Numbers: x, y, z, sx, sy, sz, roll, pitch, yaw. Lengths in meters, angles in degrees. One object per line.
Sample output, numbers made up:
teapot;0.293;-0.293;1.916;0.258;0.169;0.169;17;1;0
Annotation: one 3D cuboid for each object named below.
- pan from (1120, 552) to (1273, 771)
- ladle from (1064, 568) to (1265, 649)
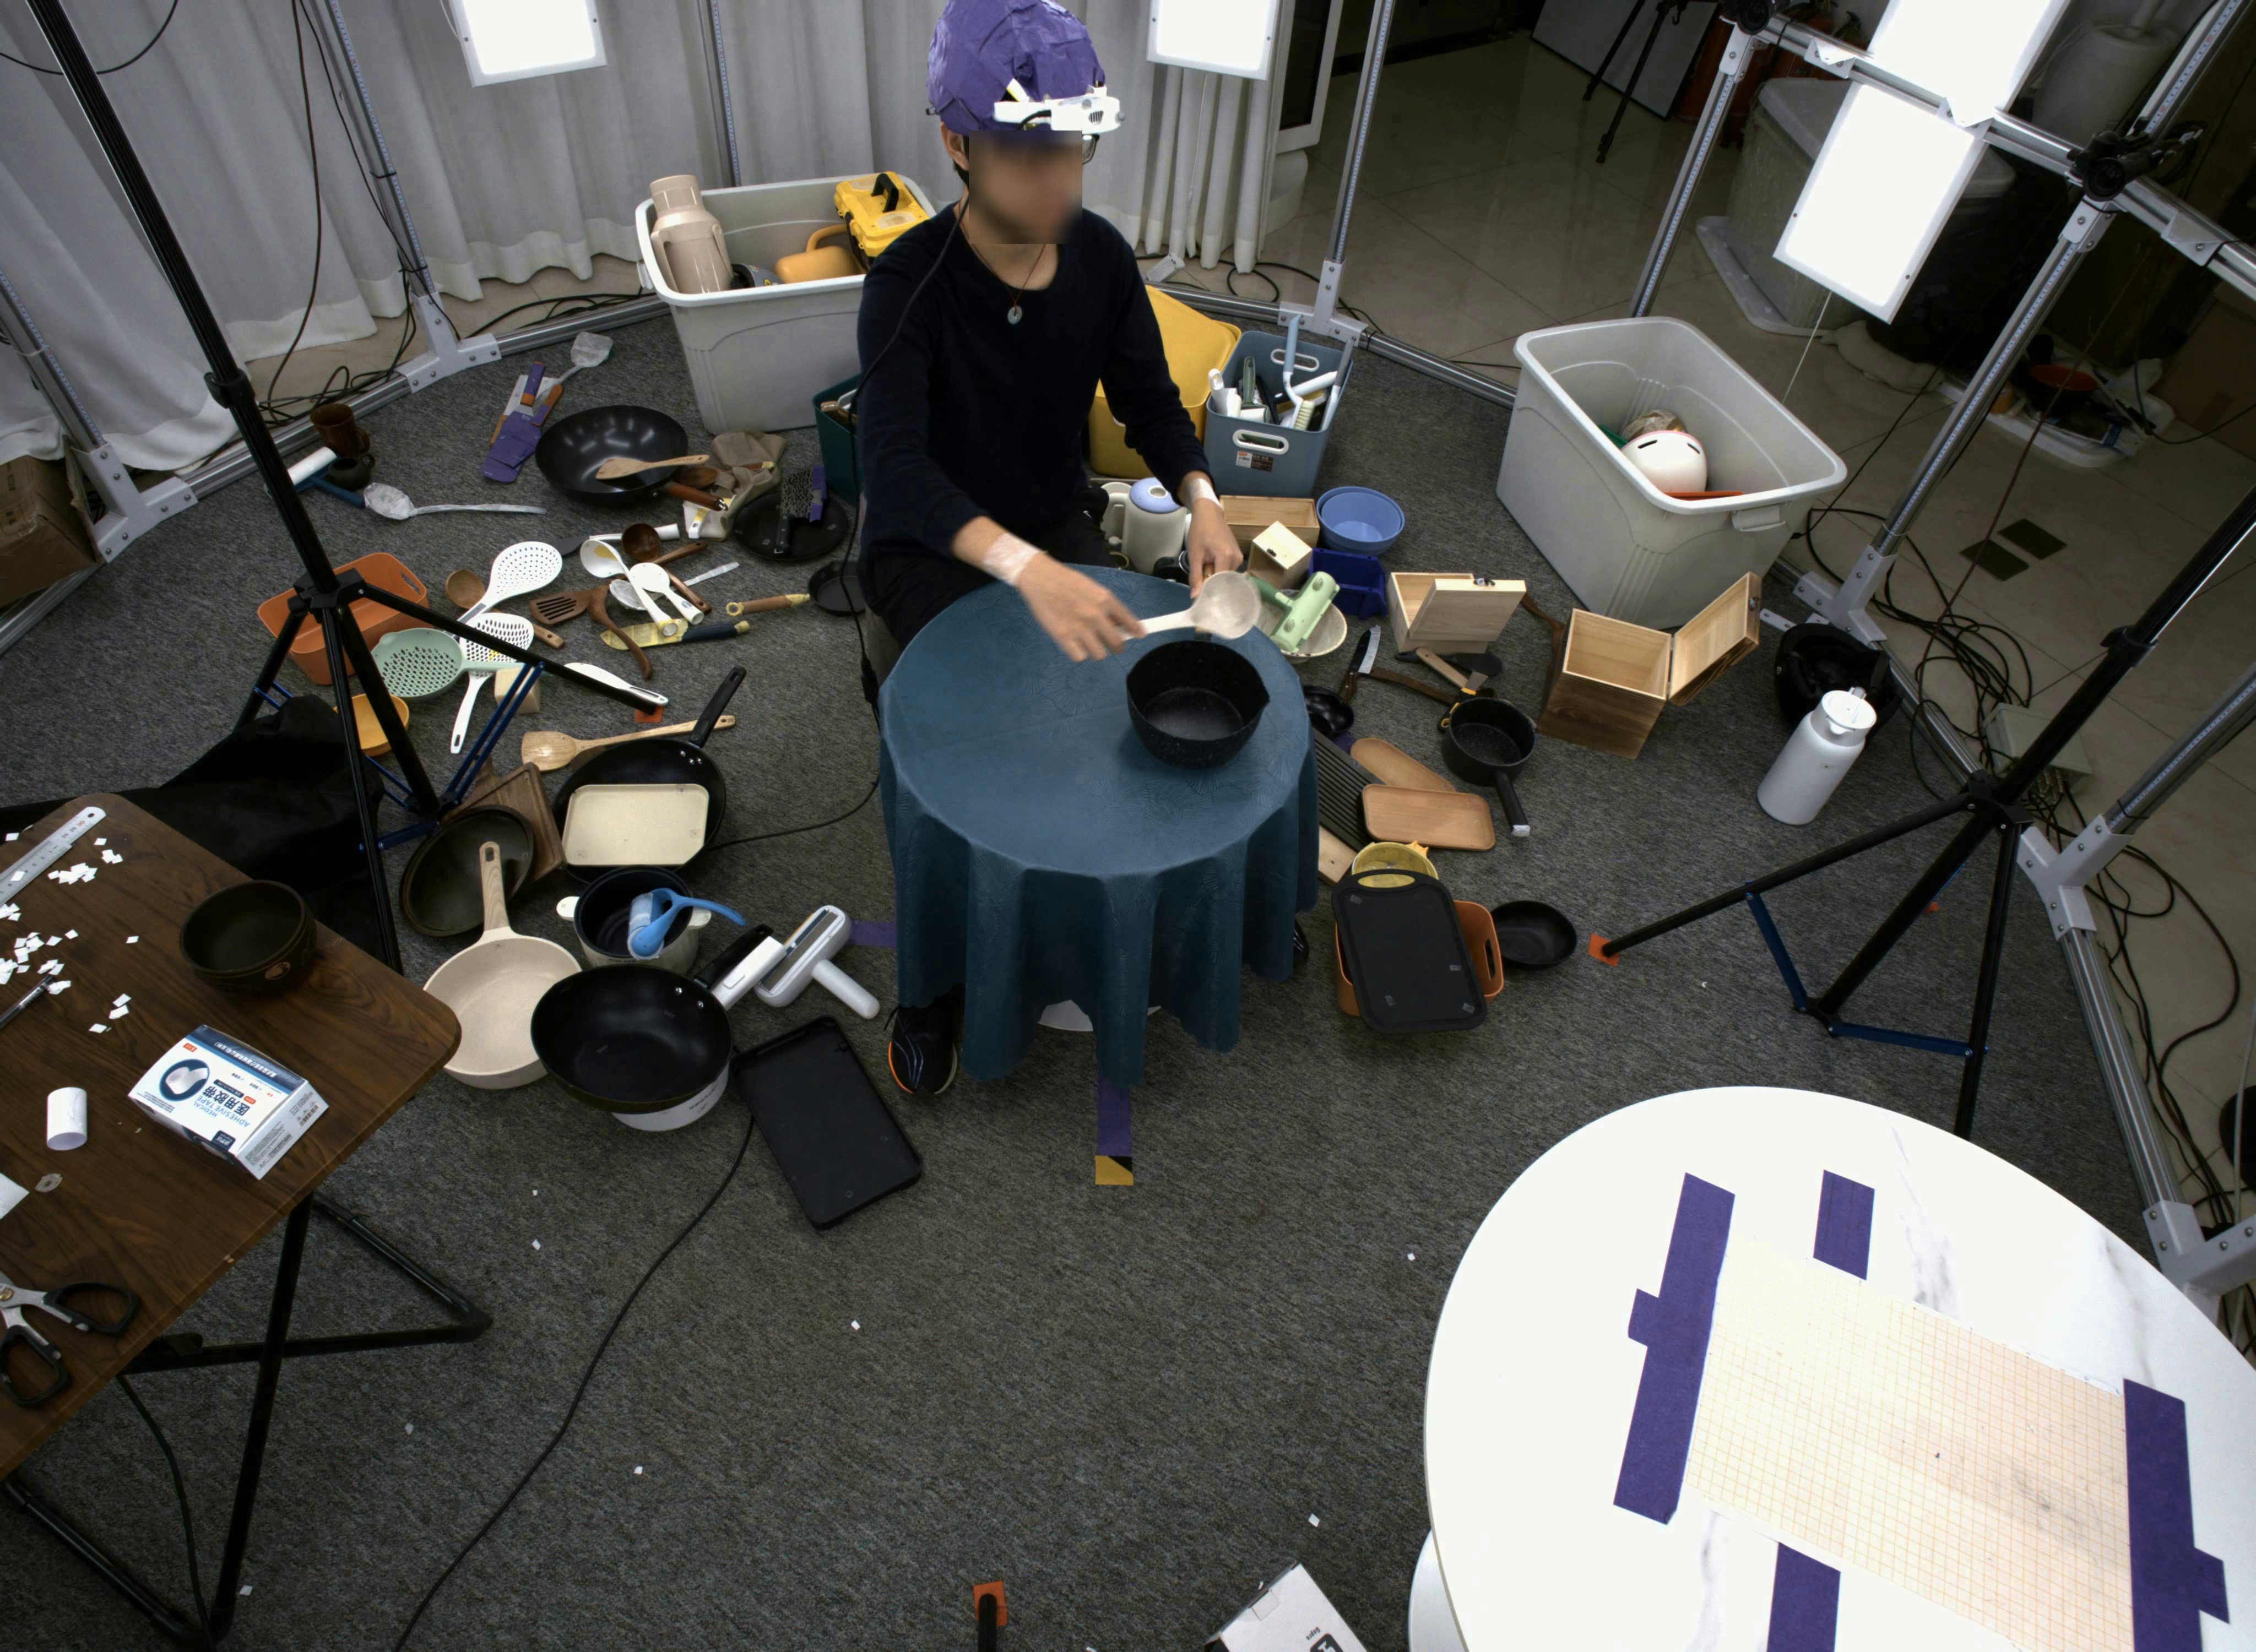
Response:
pan;0.099;-0.231;1.796;0.207;0.105;0.351;5;53;3
ladle;0.049;-0.260;1.582;0.275;0.069;0.090;-17;83;-35
